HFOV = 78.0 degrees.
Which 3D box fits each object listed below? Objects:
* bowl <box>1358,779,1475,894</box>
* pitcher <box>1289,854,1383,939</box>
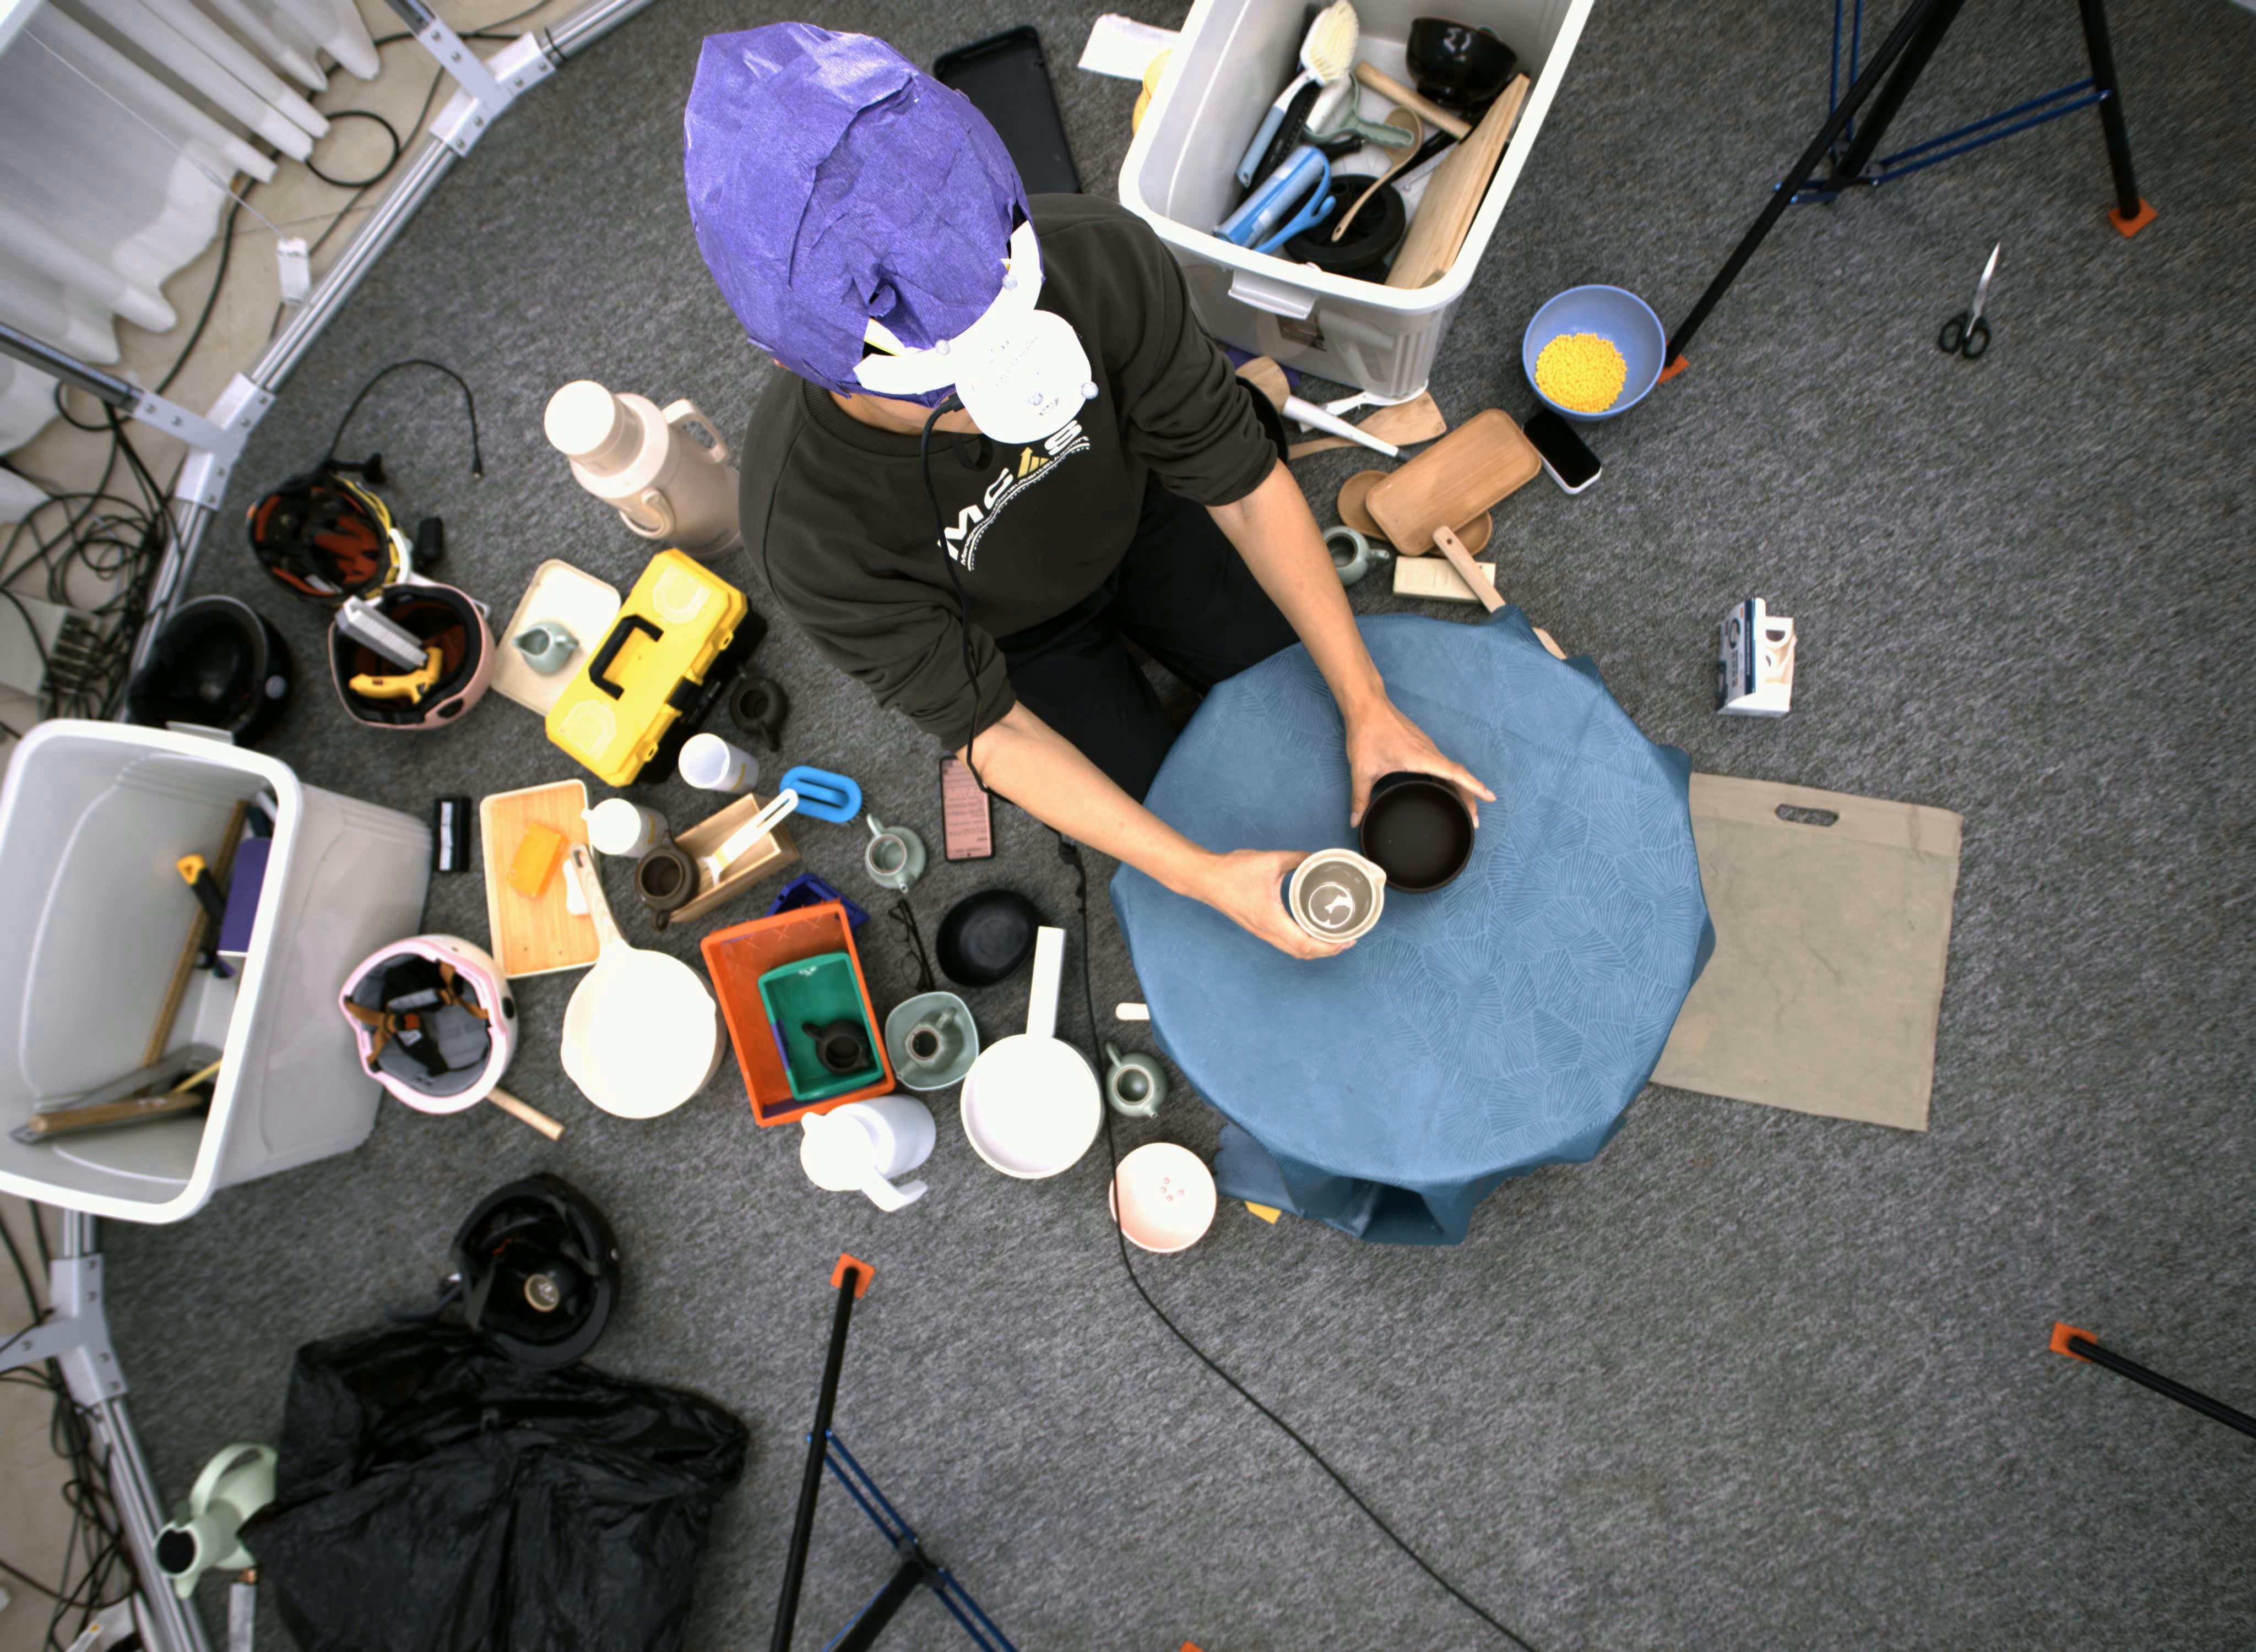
[{"bbox_3d":[0.296,0.011,1.422,0.118,0.070,0.117,-1,88,10],"label":"bowl"},{"bbox_3d":[0.206,0.071,1.380,0.096,0.072,0.083,-21,77,1],"label":"pitcher"}]
